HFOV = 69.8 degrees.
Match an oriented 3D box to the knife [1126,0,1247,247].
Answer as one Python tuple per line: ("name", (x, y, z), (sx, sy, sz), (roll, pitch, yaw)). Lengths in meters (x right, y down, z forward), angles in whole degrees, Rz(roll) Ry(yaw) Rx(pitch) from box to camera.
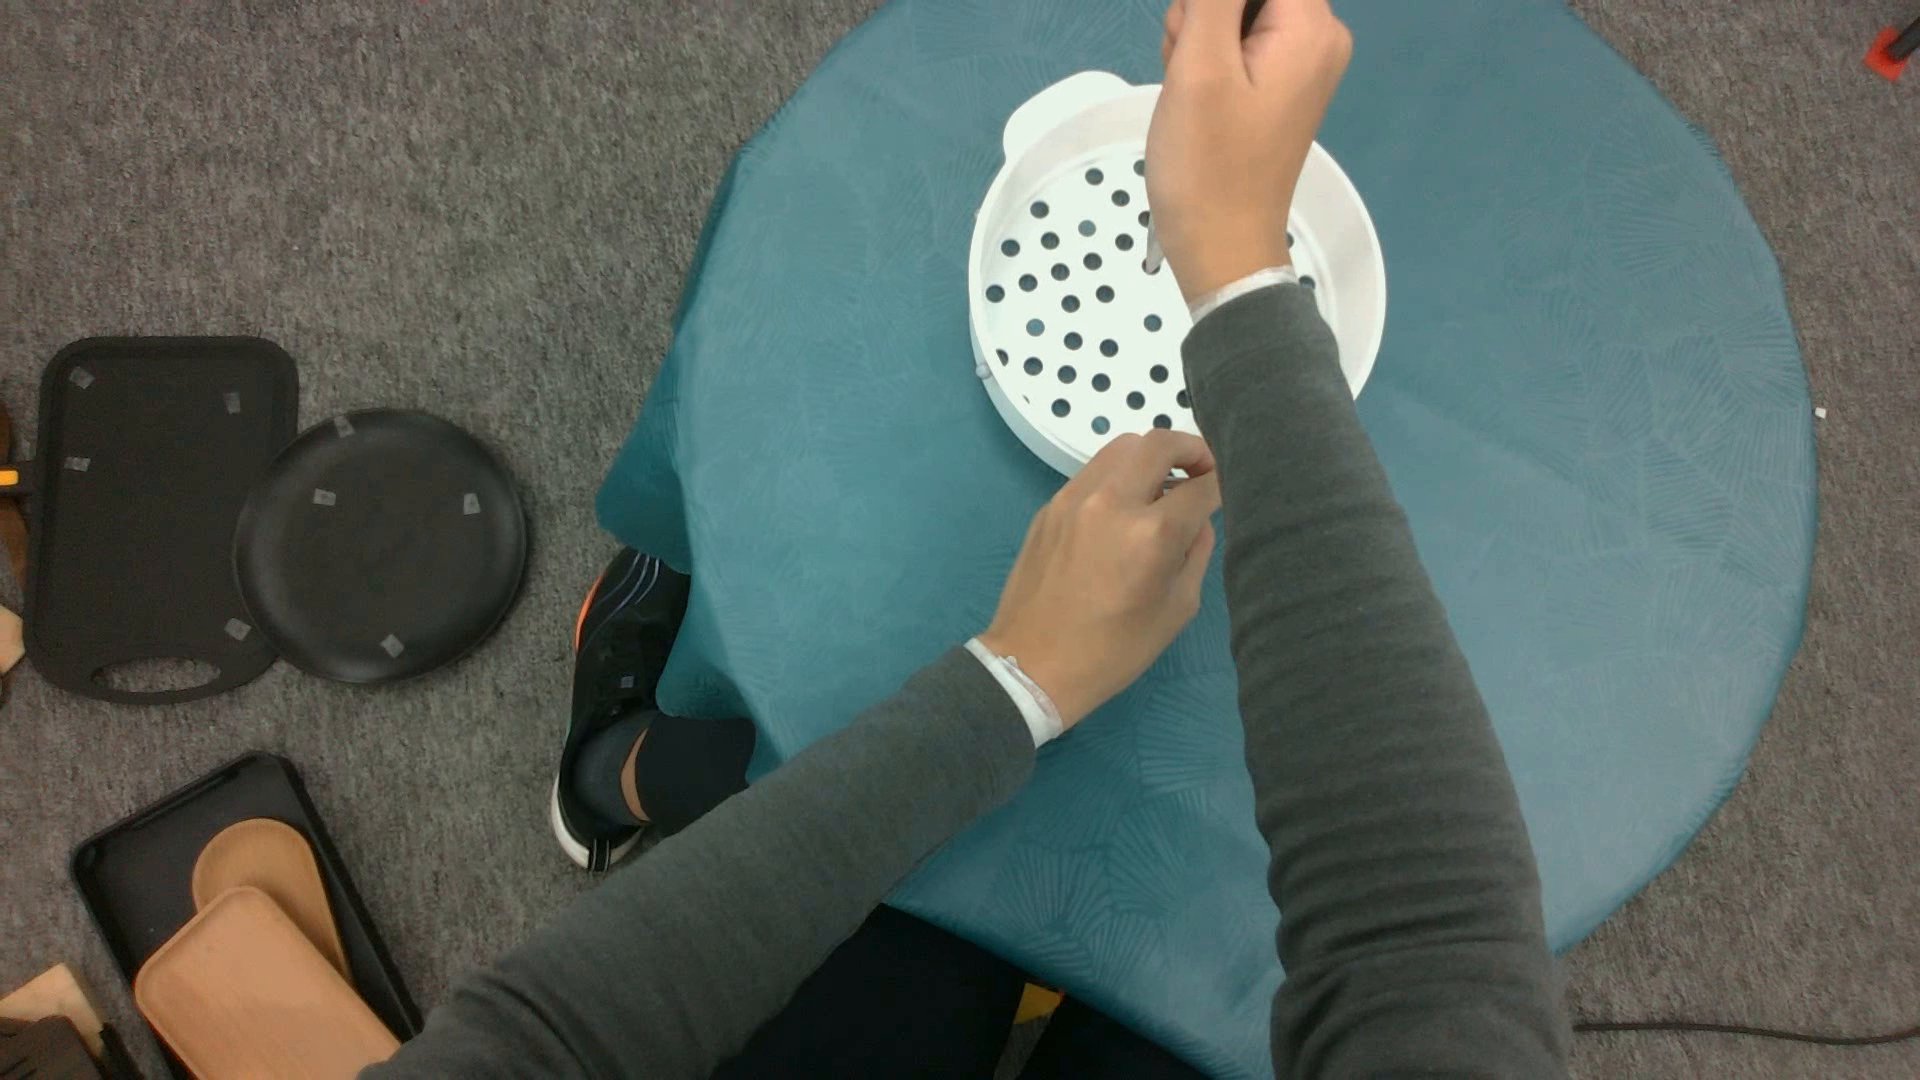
("knife", (0.092, -0.174, 0.590), (0.016, 0.237, 0.024), (-22, 79, -7))

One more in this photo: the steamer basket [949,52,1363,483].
("steamer basket", (0.093, -0.129, 0.686), (0.202, 0.069, 0.230), (-32, 85, -9))
